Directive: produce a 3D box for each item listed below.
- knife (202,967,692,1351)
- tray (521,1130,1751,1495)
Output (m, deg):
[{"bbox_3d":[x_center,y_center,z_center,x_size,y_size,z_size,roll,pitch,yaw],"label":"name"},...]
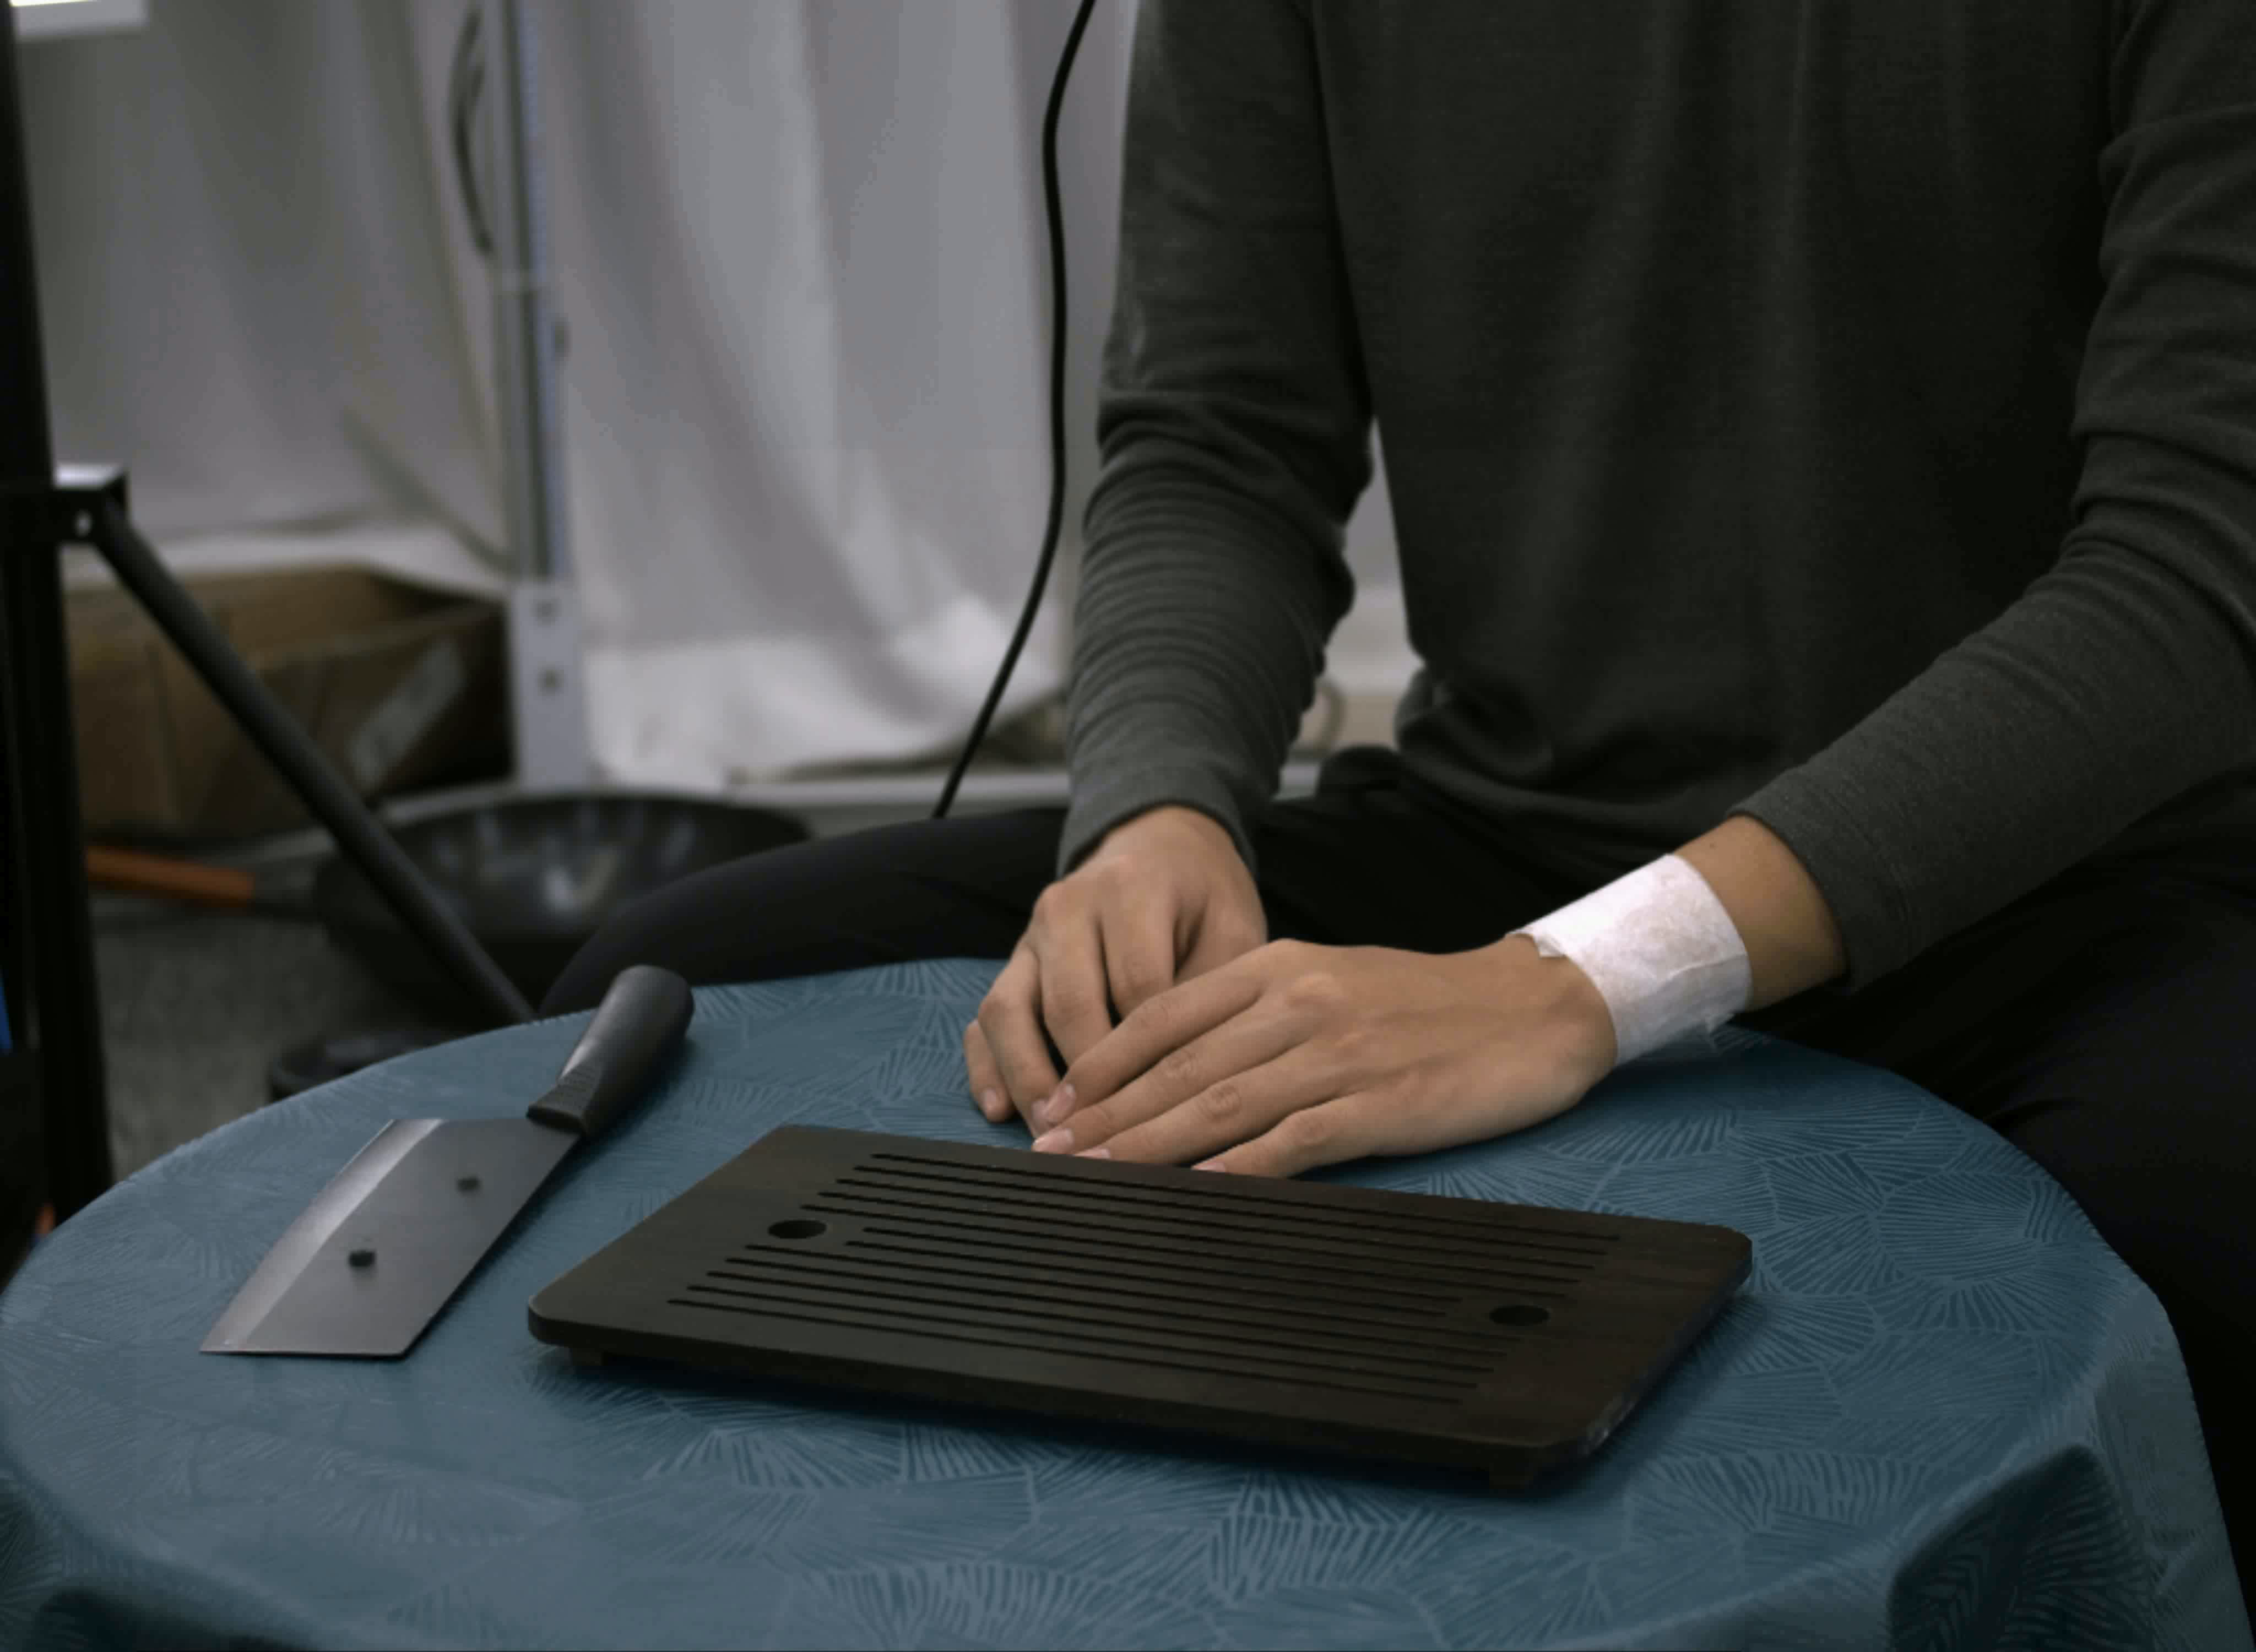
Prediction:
[{"bbox_3d":[-0.195,0.099,1.600,0.081,0.021,0.300,1,18,17],"label":"knife"},{"bbox_3d":[0.003,0.130,1.449,0.310,0.018,0.167,5,17,25],"label":"tray"}]
